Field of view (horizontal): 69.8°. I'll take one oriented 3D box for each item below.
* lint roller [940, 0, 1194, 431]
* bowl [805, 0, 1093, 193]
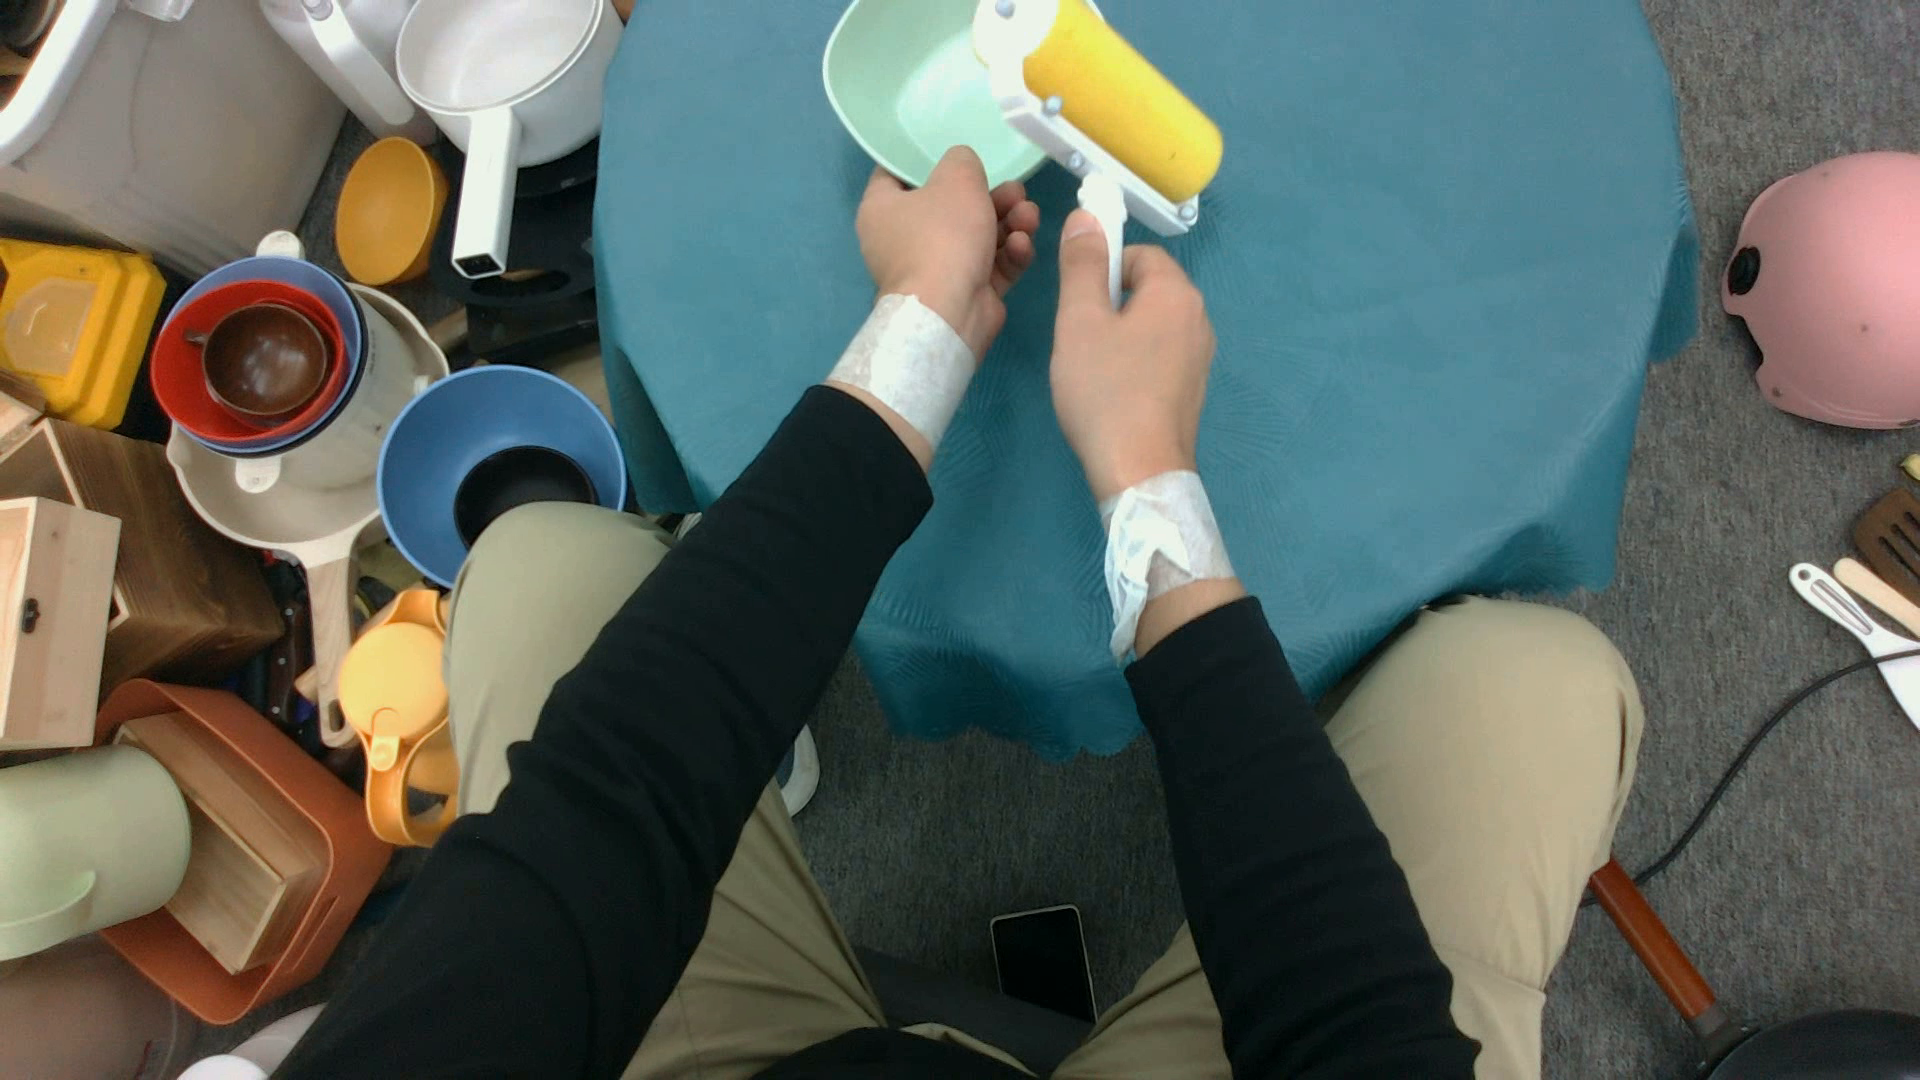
[{"bbox_3d":[0.069,-0.149,0.656,0.051,0.174,0.192,-22,71,33],"label":"lint roller"},{"bbox_3d":[-0.003,-0.248,0.741,0.151,0.058,0.152,-2,77,7],"label":"bowl"}]
